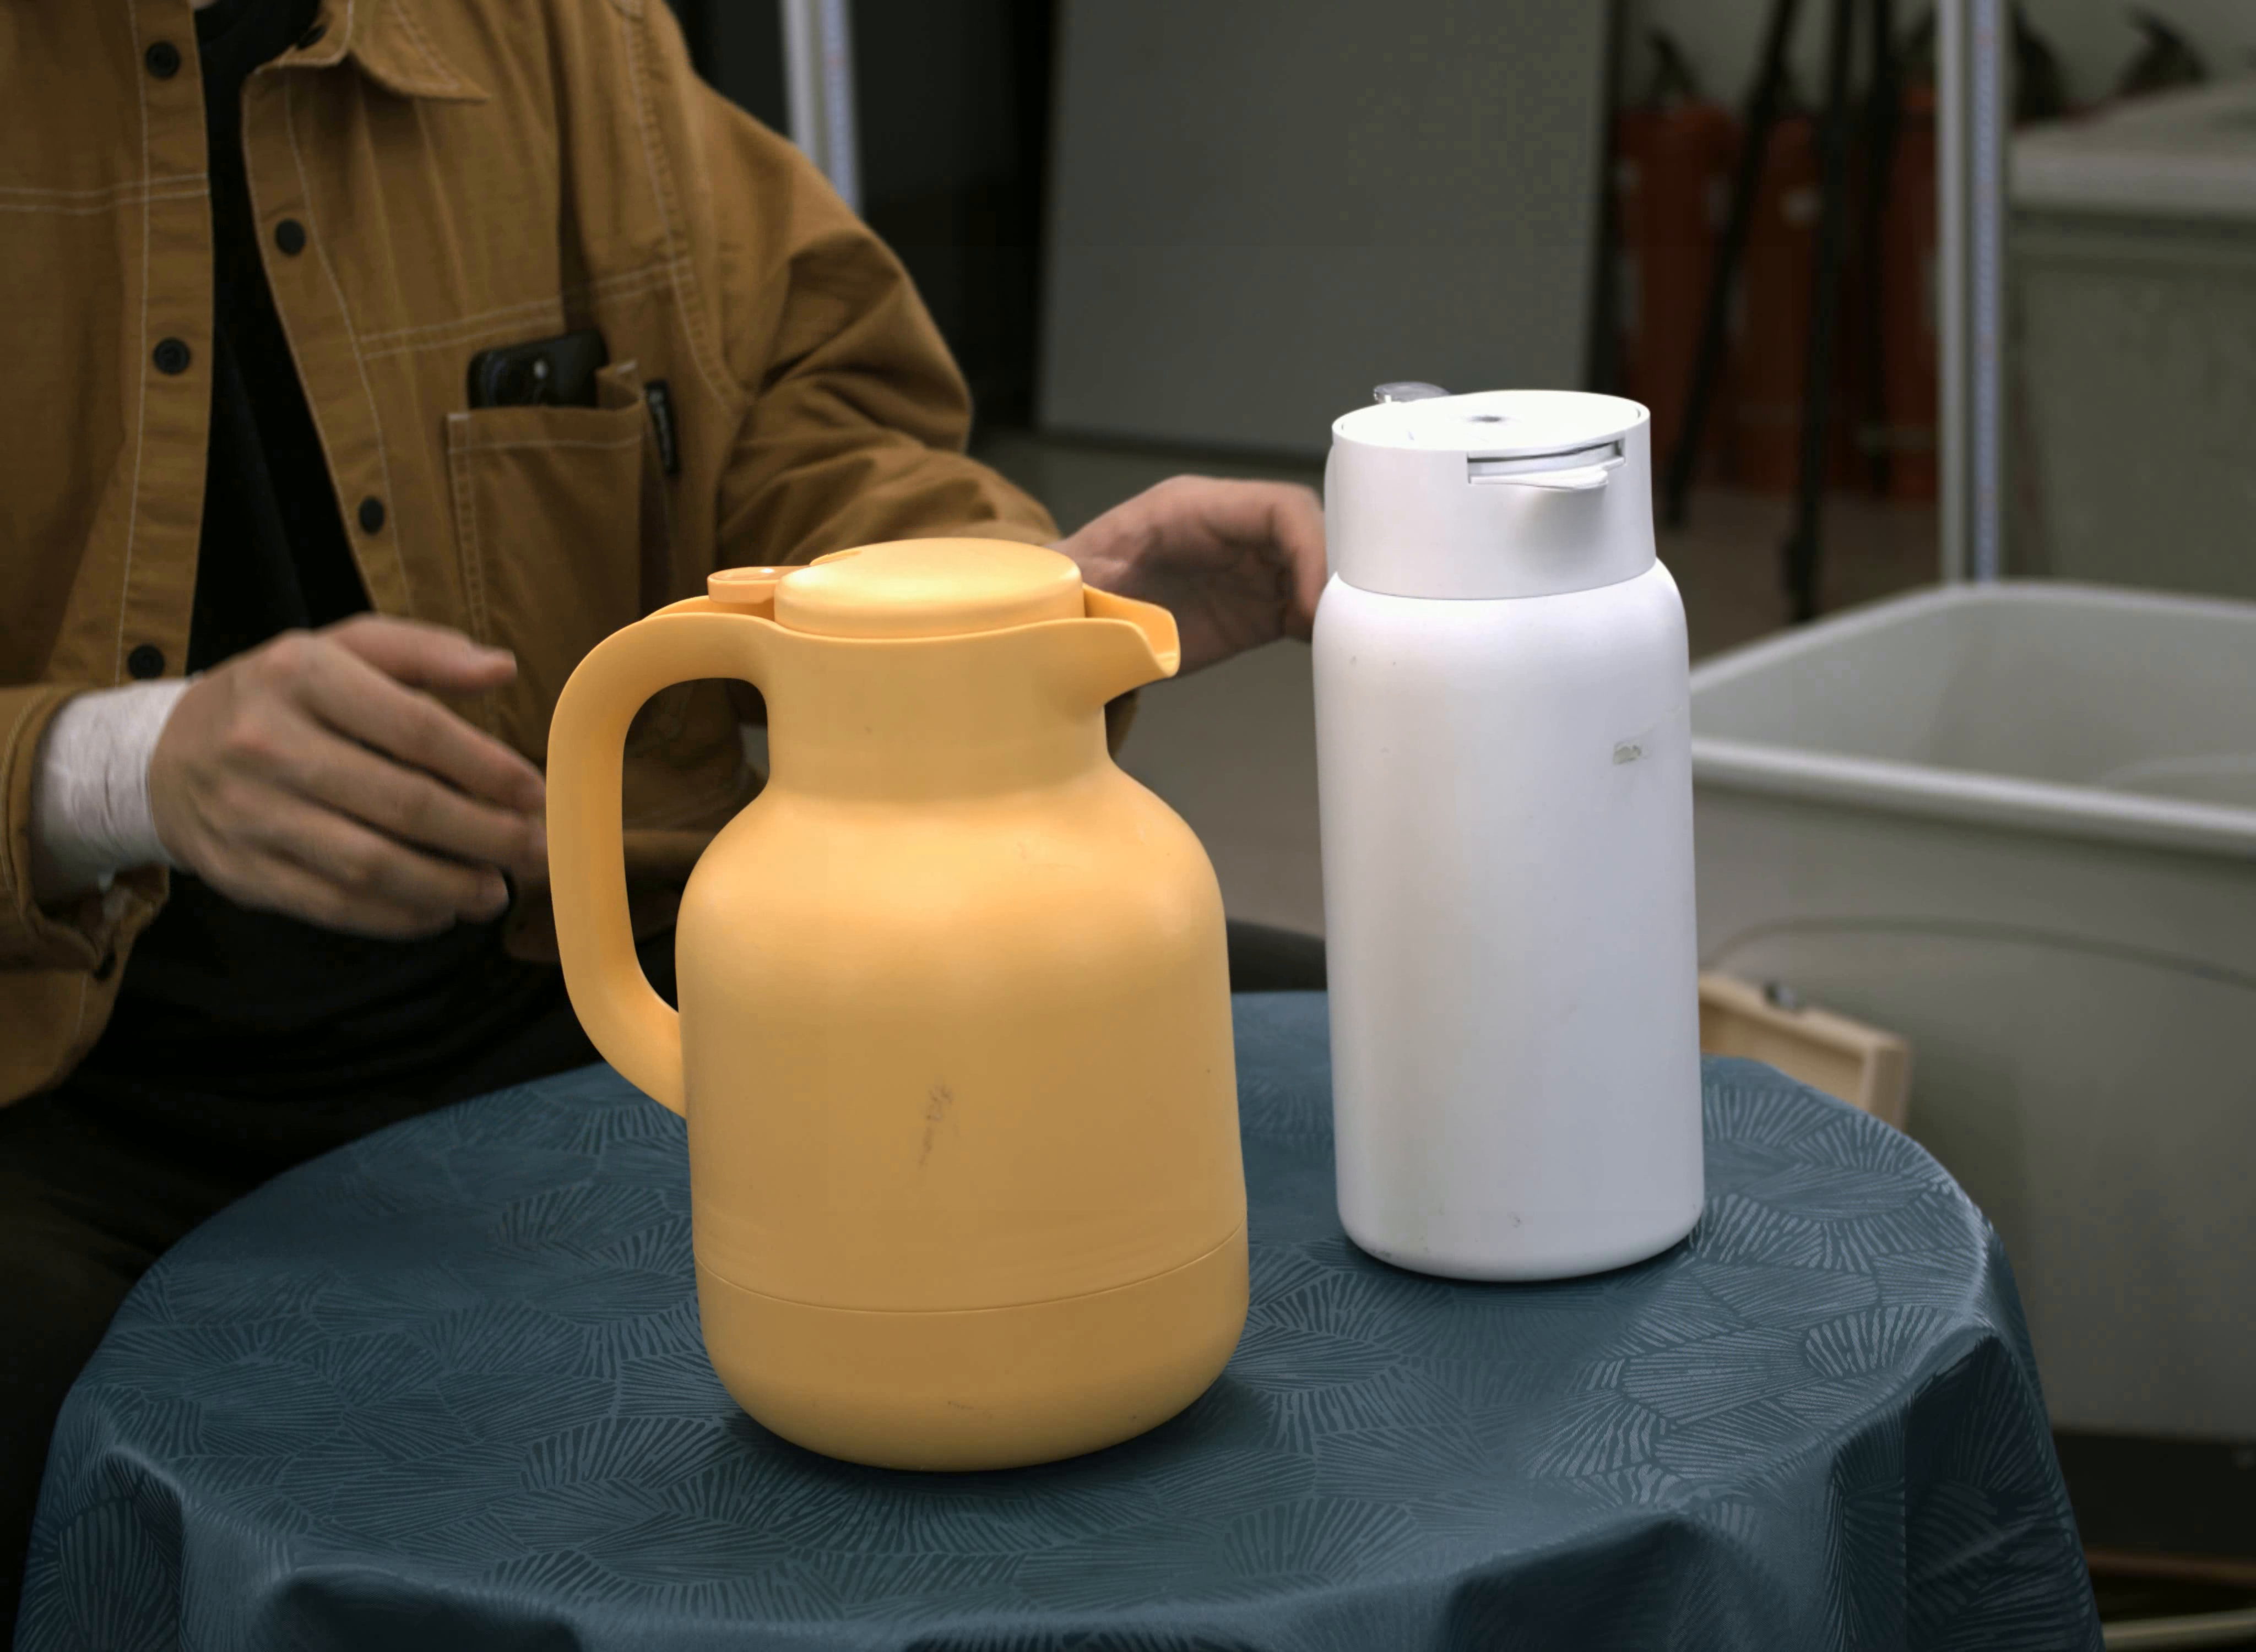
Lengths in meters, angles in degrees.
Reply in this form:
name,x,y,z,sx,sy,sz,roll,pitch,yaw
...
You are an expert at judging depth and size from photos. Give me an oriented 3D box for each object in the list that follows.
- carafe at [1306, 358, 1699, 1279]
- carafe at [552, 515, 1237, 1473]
name,x,y,z,sx,sy,sz,roll,pitch,yaw
carafe,0.108,-0.005,1.691,0.121,0.272,0.174,-11,15,-19
carafe,-0.069,0.043,1.563,0.202,0.263,0.161,3,13,23
